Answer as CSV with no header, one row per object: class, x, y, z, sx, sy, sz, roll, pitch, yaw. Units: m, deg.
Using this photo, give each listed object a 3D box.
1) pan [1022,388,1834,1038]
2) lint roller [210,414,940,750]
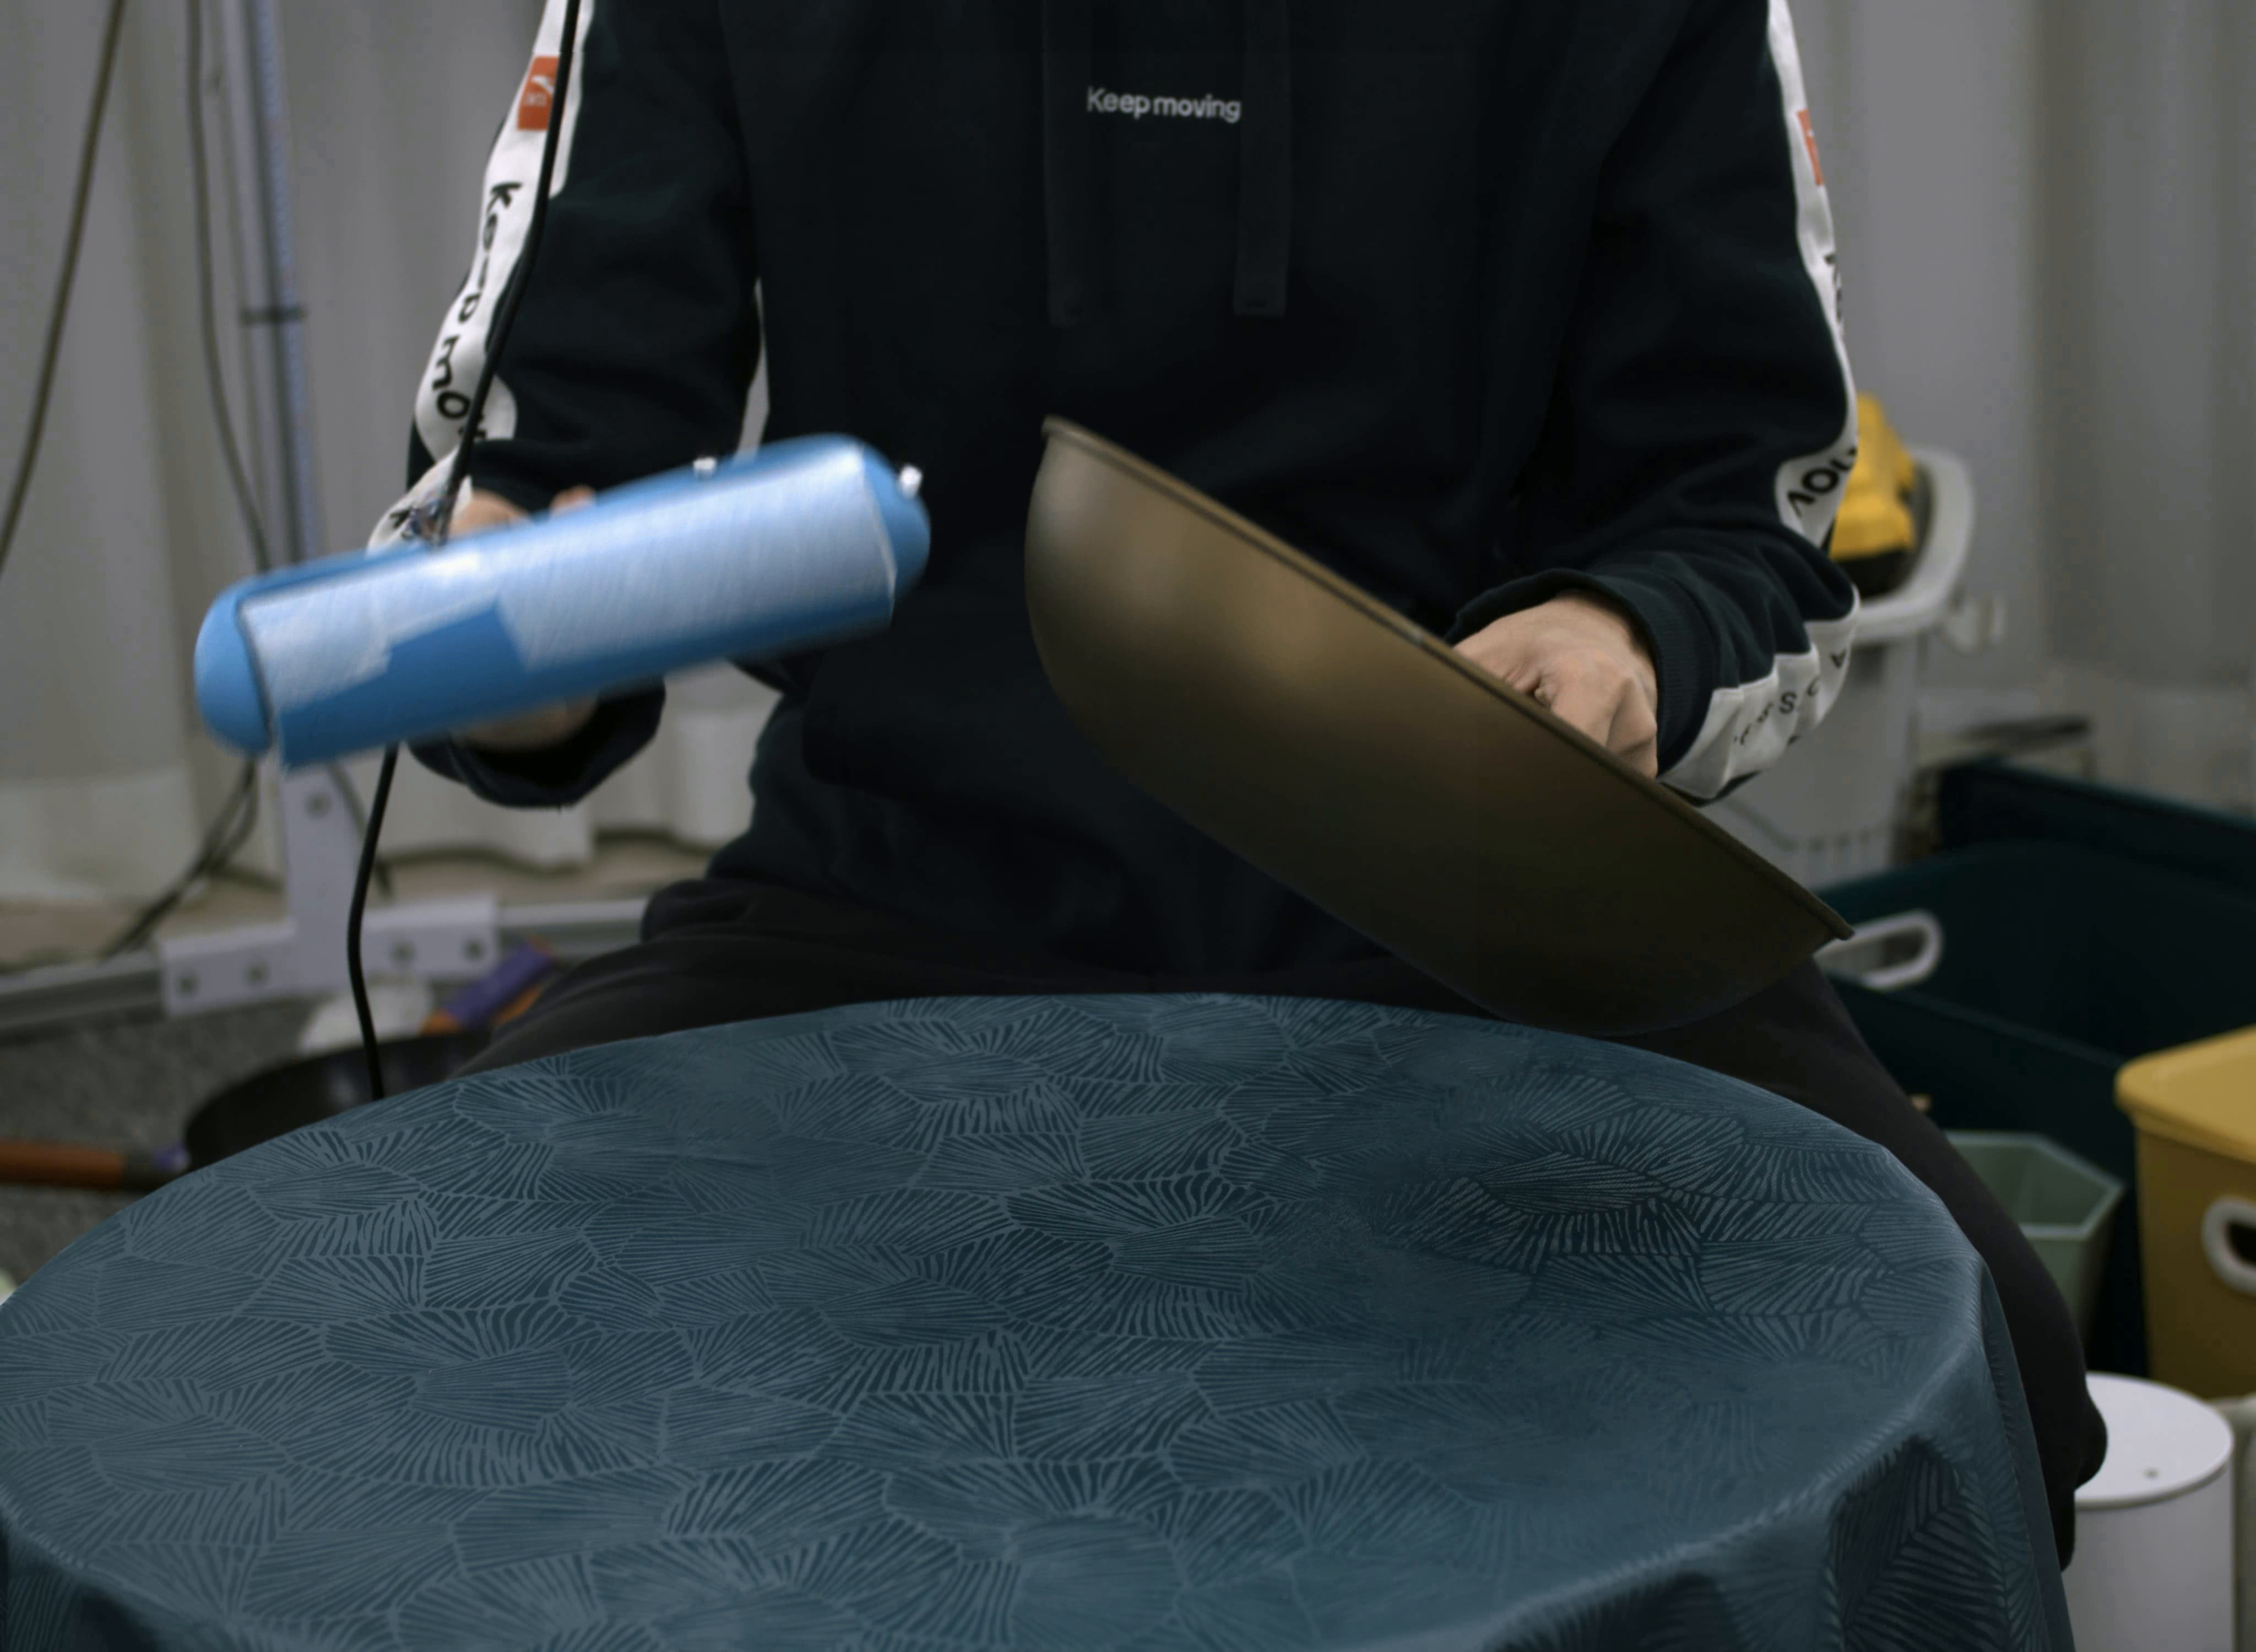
pan,0.088,-0.009,1.722,0.289,0.087,0.461,35,1,12
lint roller,-0.184,-0.071,1.718,0.228,0.068,0.180,-18,2,-18
